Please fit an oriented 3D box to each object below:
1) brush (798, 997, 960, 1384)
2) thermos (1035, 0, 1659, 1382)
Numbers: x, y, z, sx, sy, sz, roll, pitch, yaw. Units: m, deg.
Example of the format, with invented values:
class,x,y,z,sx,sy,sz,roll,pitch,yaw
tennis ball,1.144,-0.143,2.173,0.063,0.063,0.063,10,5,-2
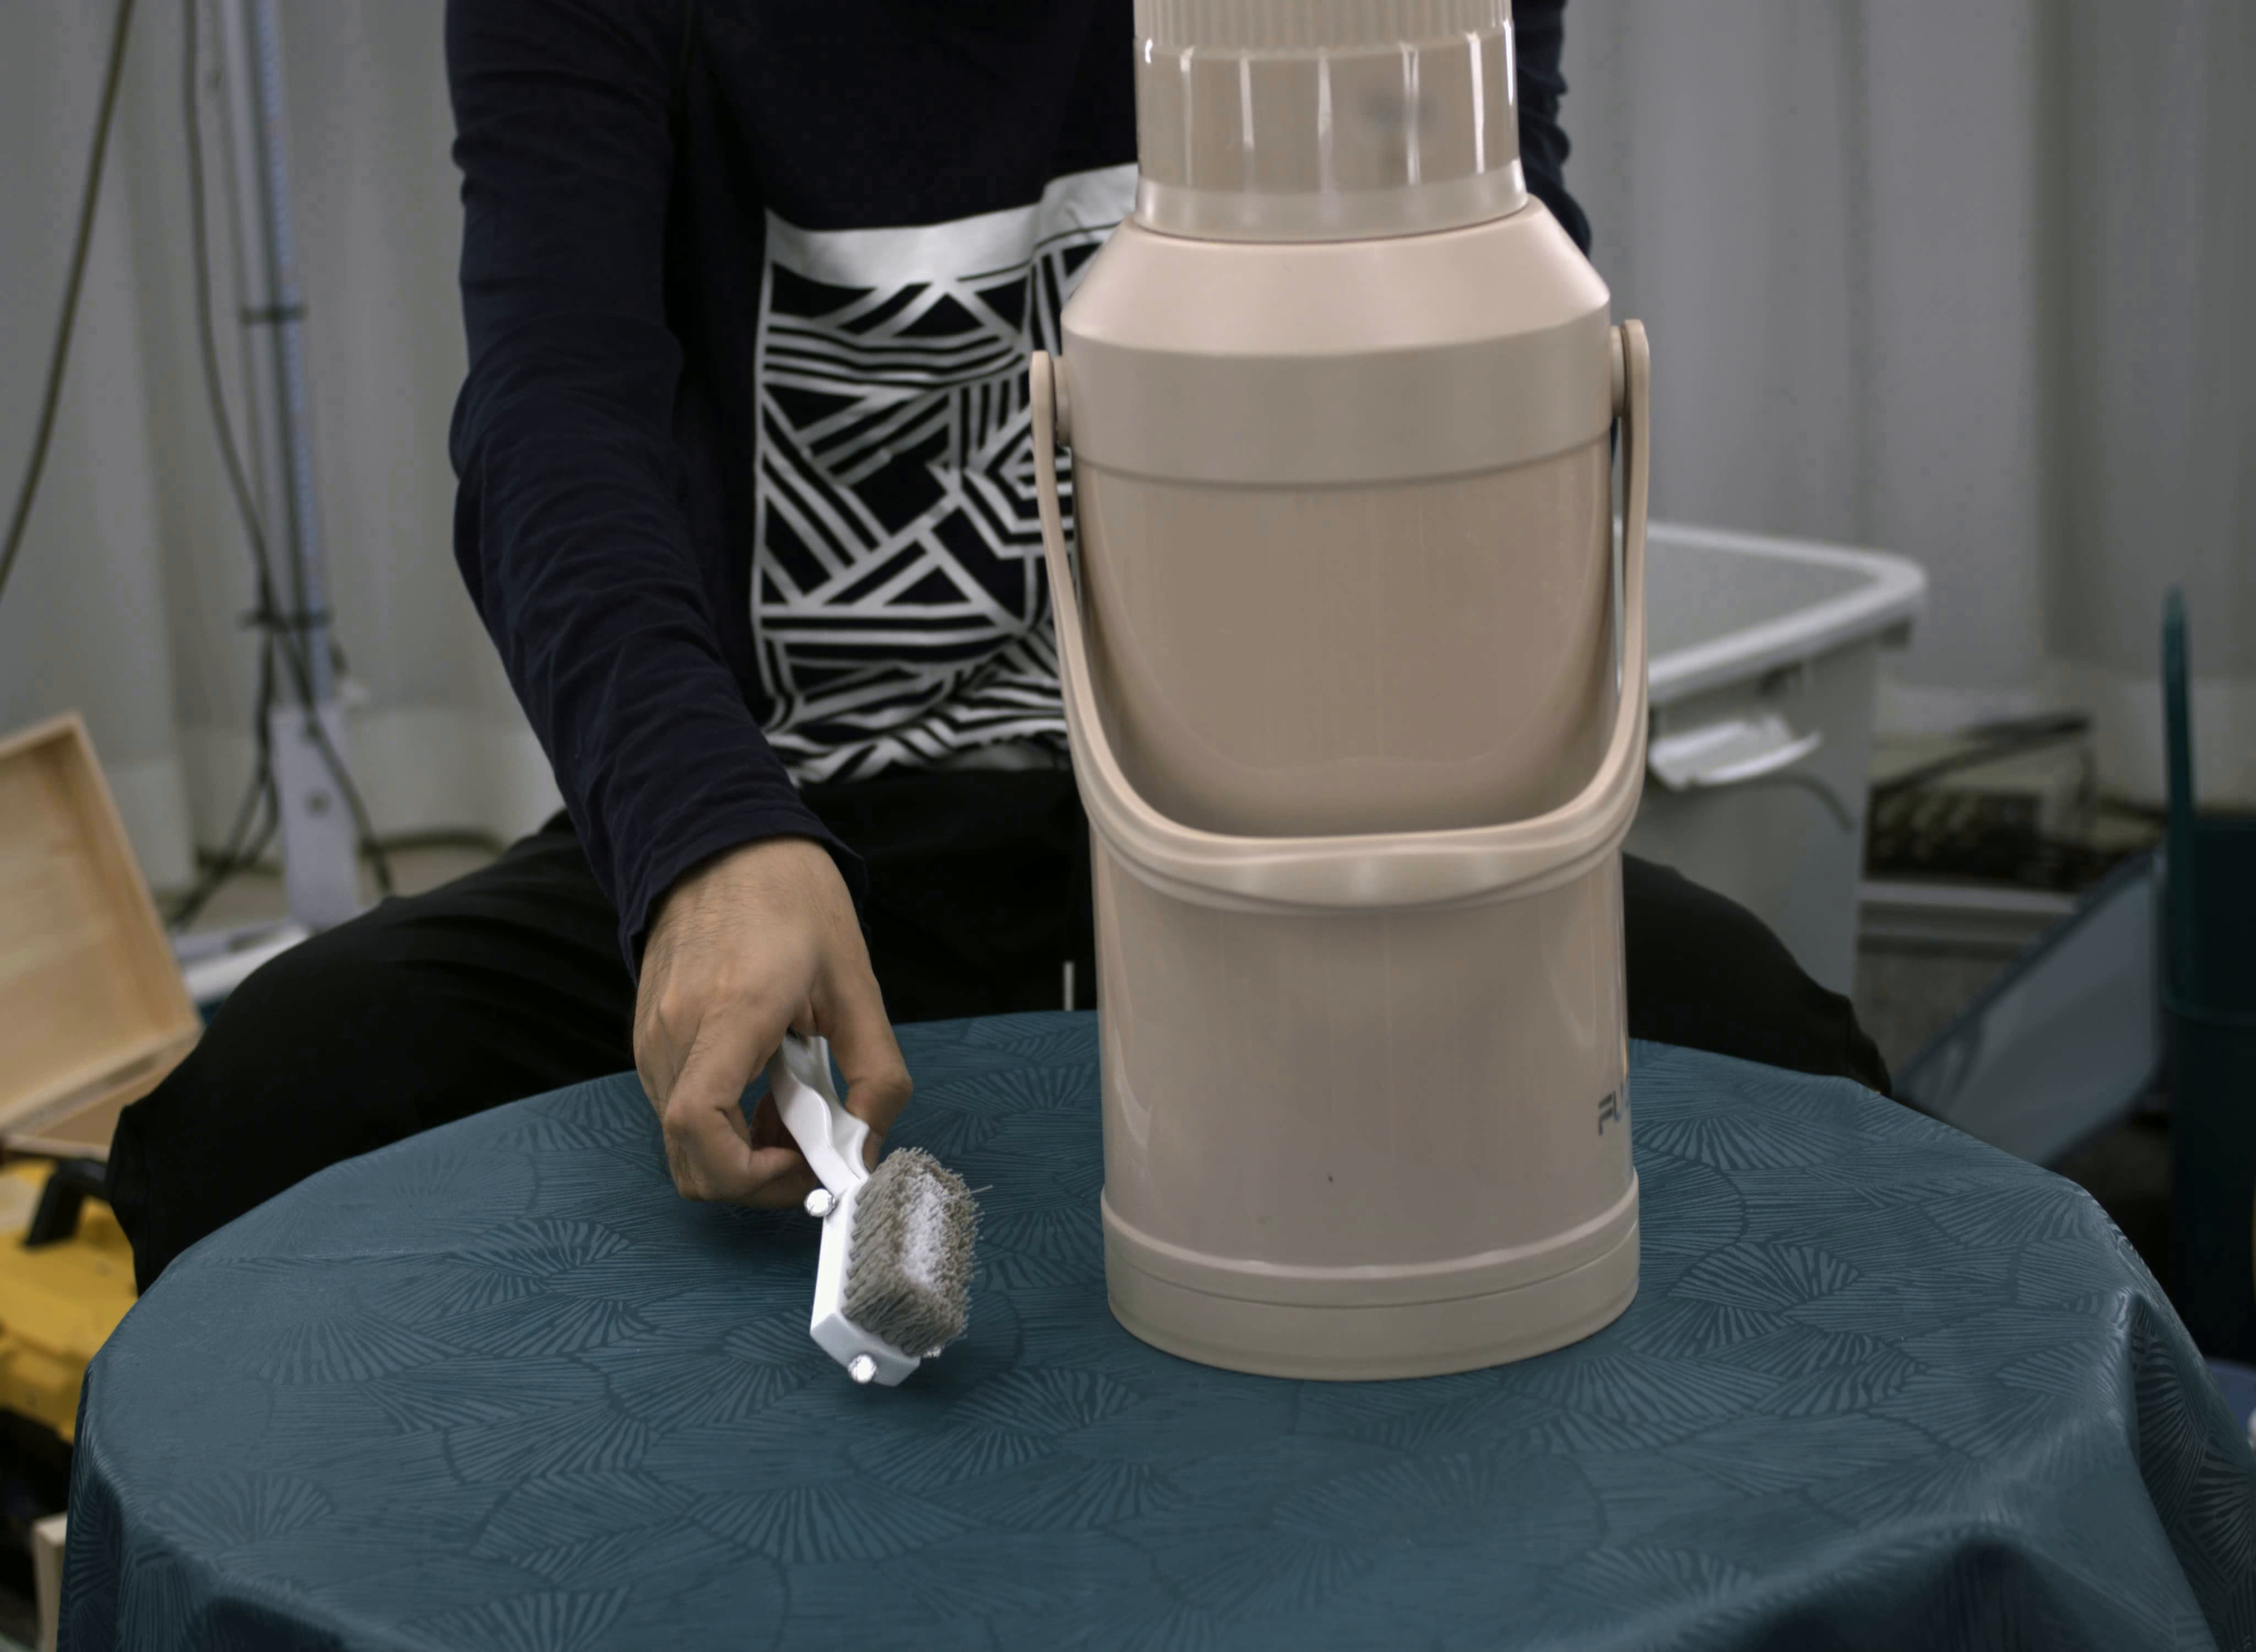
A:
class,x,y,z,sx,sy,sz,roll,pitch,yaw
brush,-0.077,0.092,1.645,0.034,0.050,0.246,24,19,-14
thermos,0.066,-0.058,1.586,0.175,0.405,0.208,-5,14,-2
